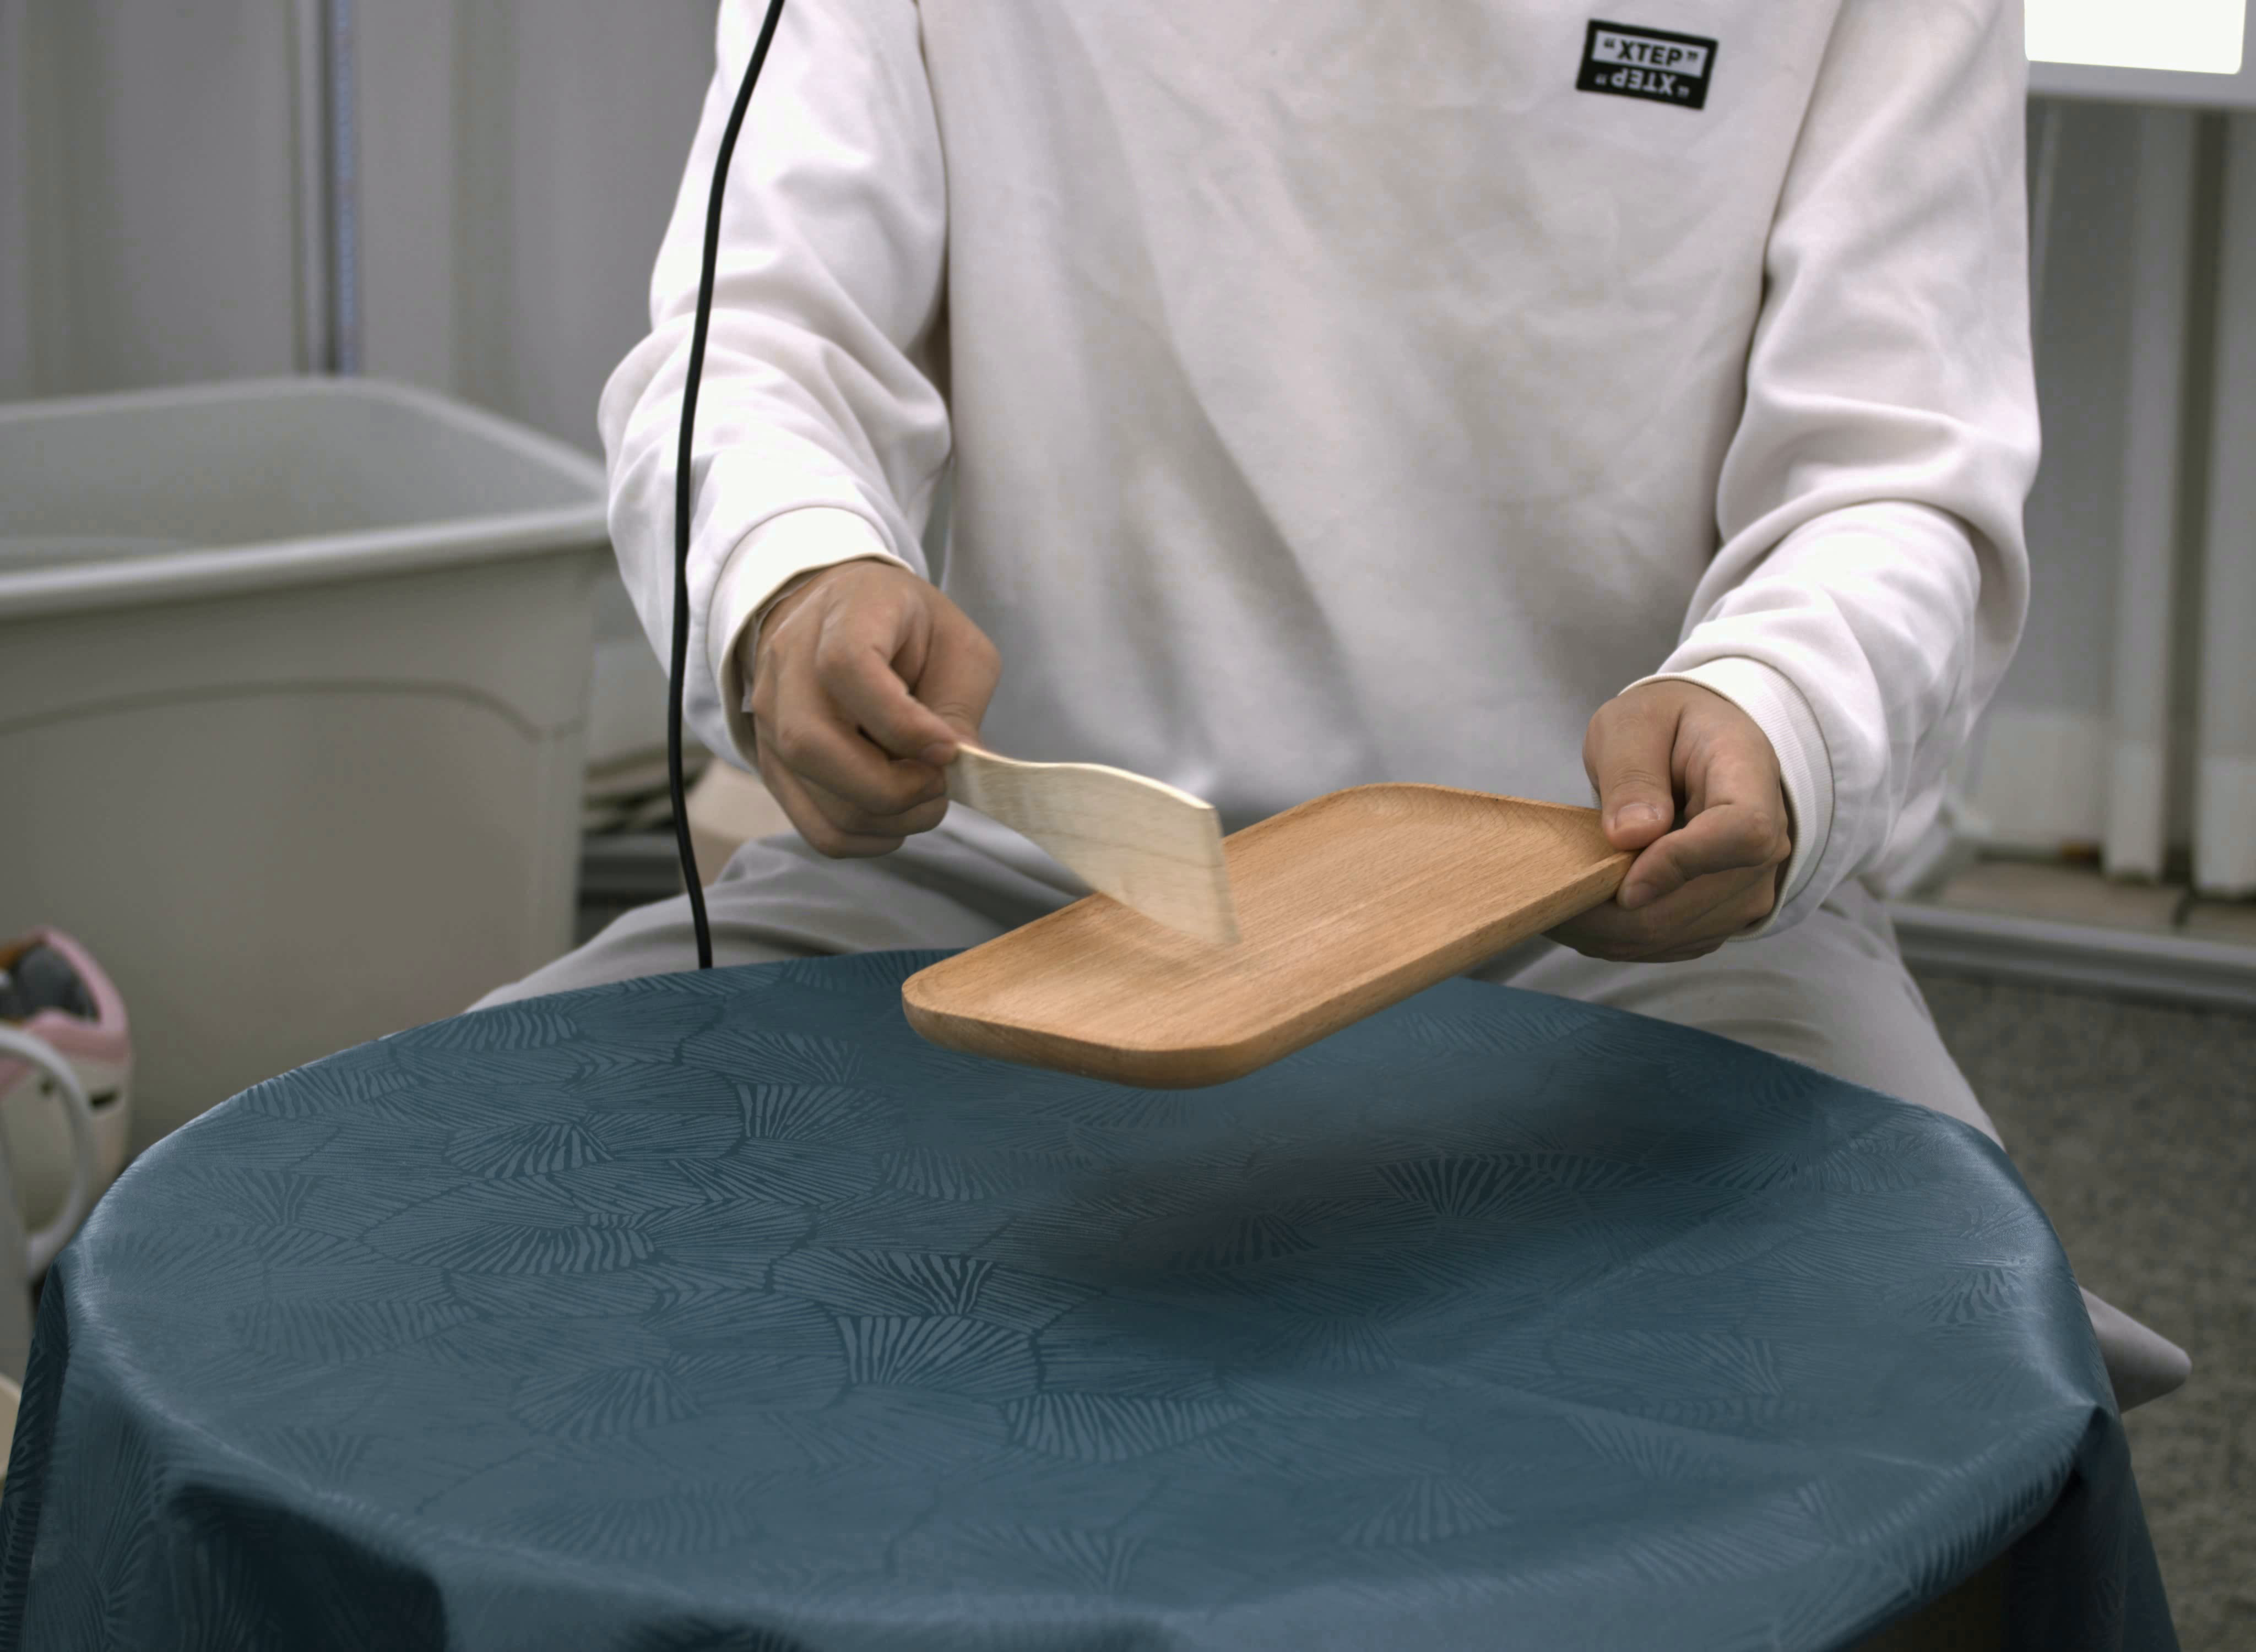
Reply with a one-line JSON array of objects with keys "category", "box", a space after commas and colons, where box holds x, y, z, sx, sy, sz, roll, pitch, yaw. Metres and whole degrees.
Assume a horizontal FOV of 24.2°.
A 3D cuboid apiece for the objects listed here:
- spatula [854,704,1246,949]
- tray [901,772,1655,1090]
[{"category": "spatula", "box": [-0.028, -0.007, 1.624, 0.005, 0.051, 0.205, -23, 26, -29]}, {"category": "tray", "box": [0.049, 0.029, 1.602, 0.129, 0.023, 0.251, 14, 24, 37]}]
